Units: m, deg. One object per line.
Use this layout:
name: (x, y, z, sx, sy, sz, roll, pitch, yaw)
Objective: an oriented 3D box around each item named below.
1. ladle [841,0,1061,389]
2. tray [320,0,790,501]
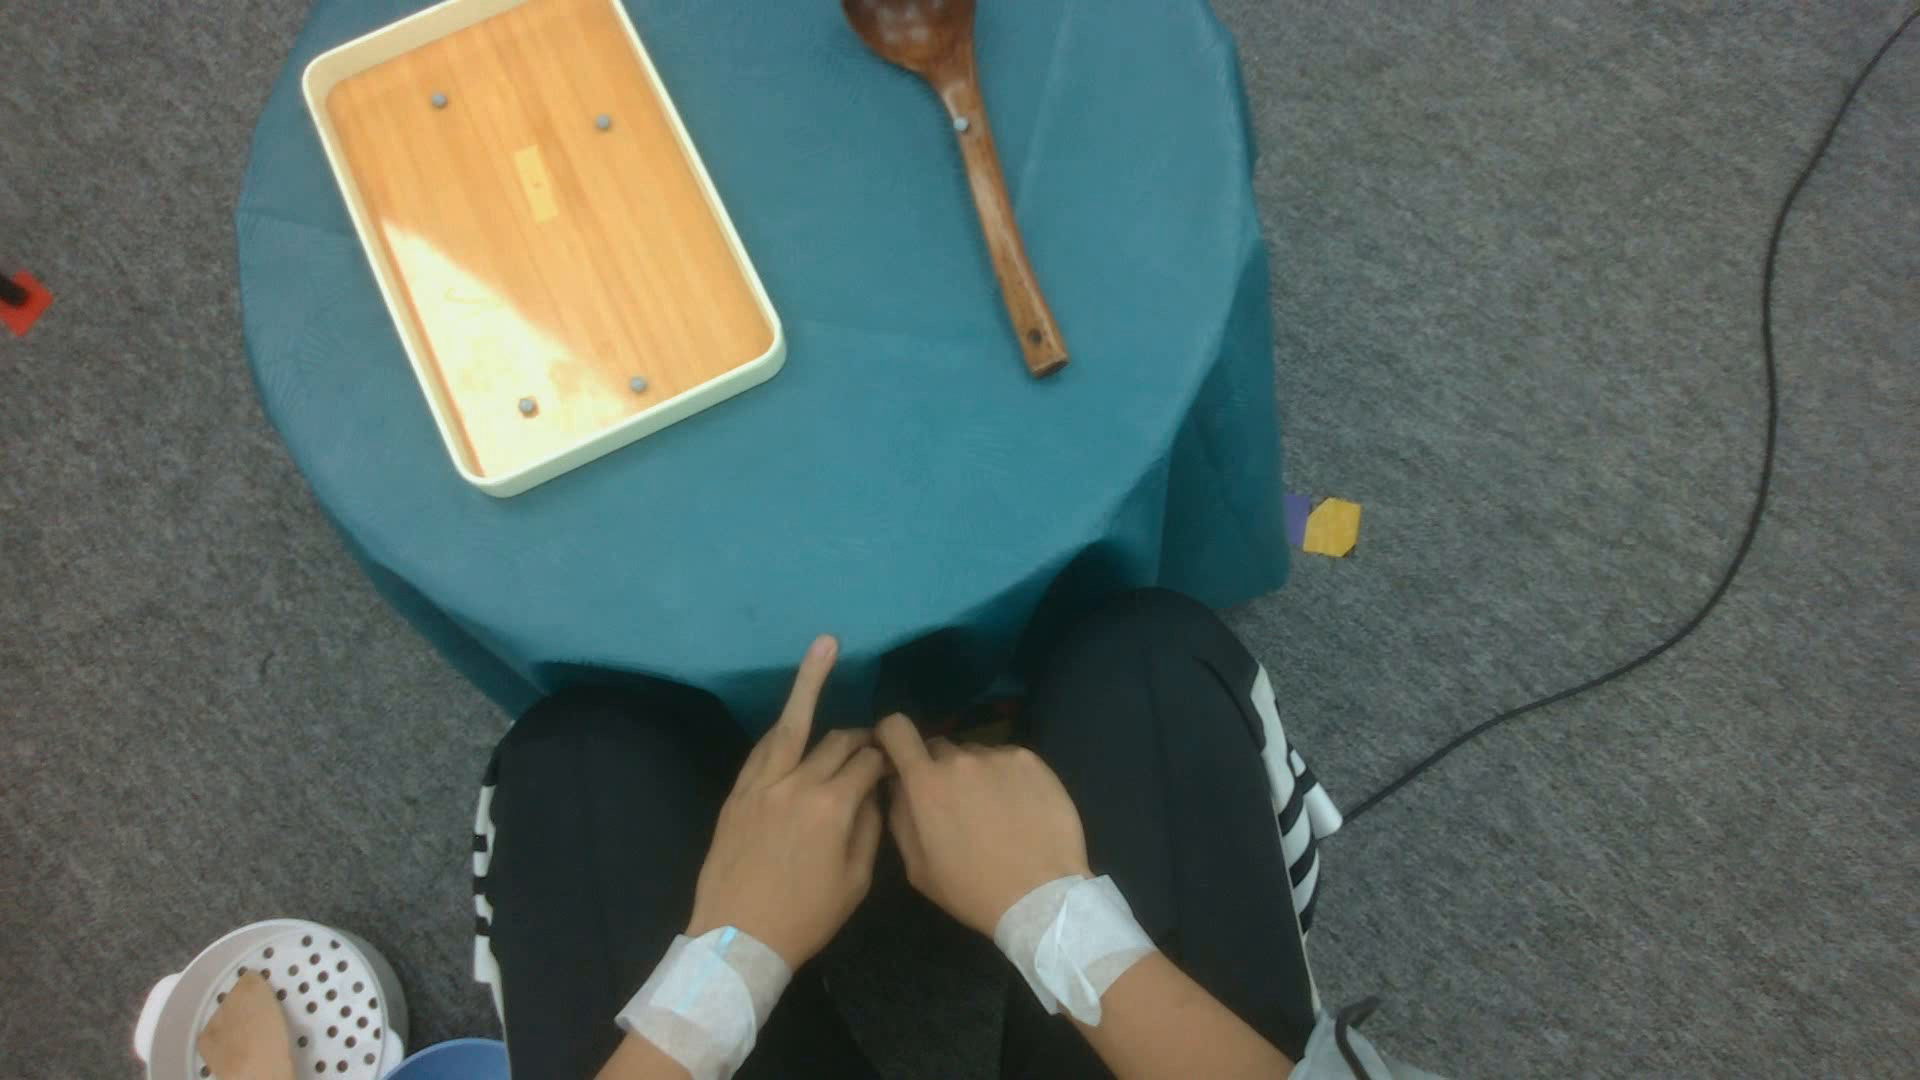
ladle: (-0.002, -0.220, 0.798, 0.081, 0.077, 0.274, -27, 70, 37)
tray: (-0.243, -0.186, 0.816, 0.192, 0.027, 0.301, -26, 74, -6)
